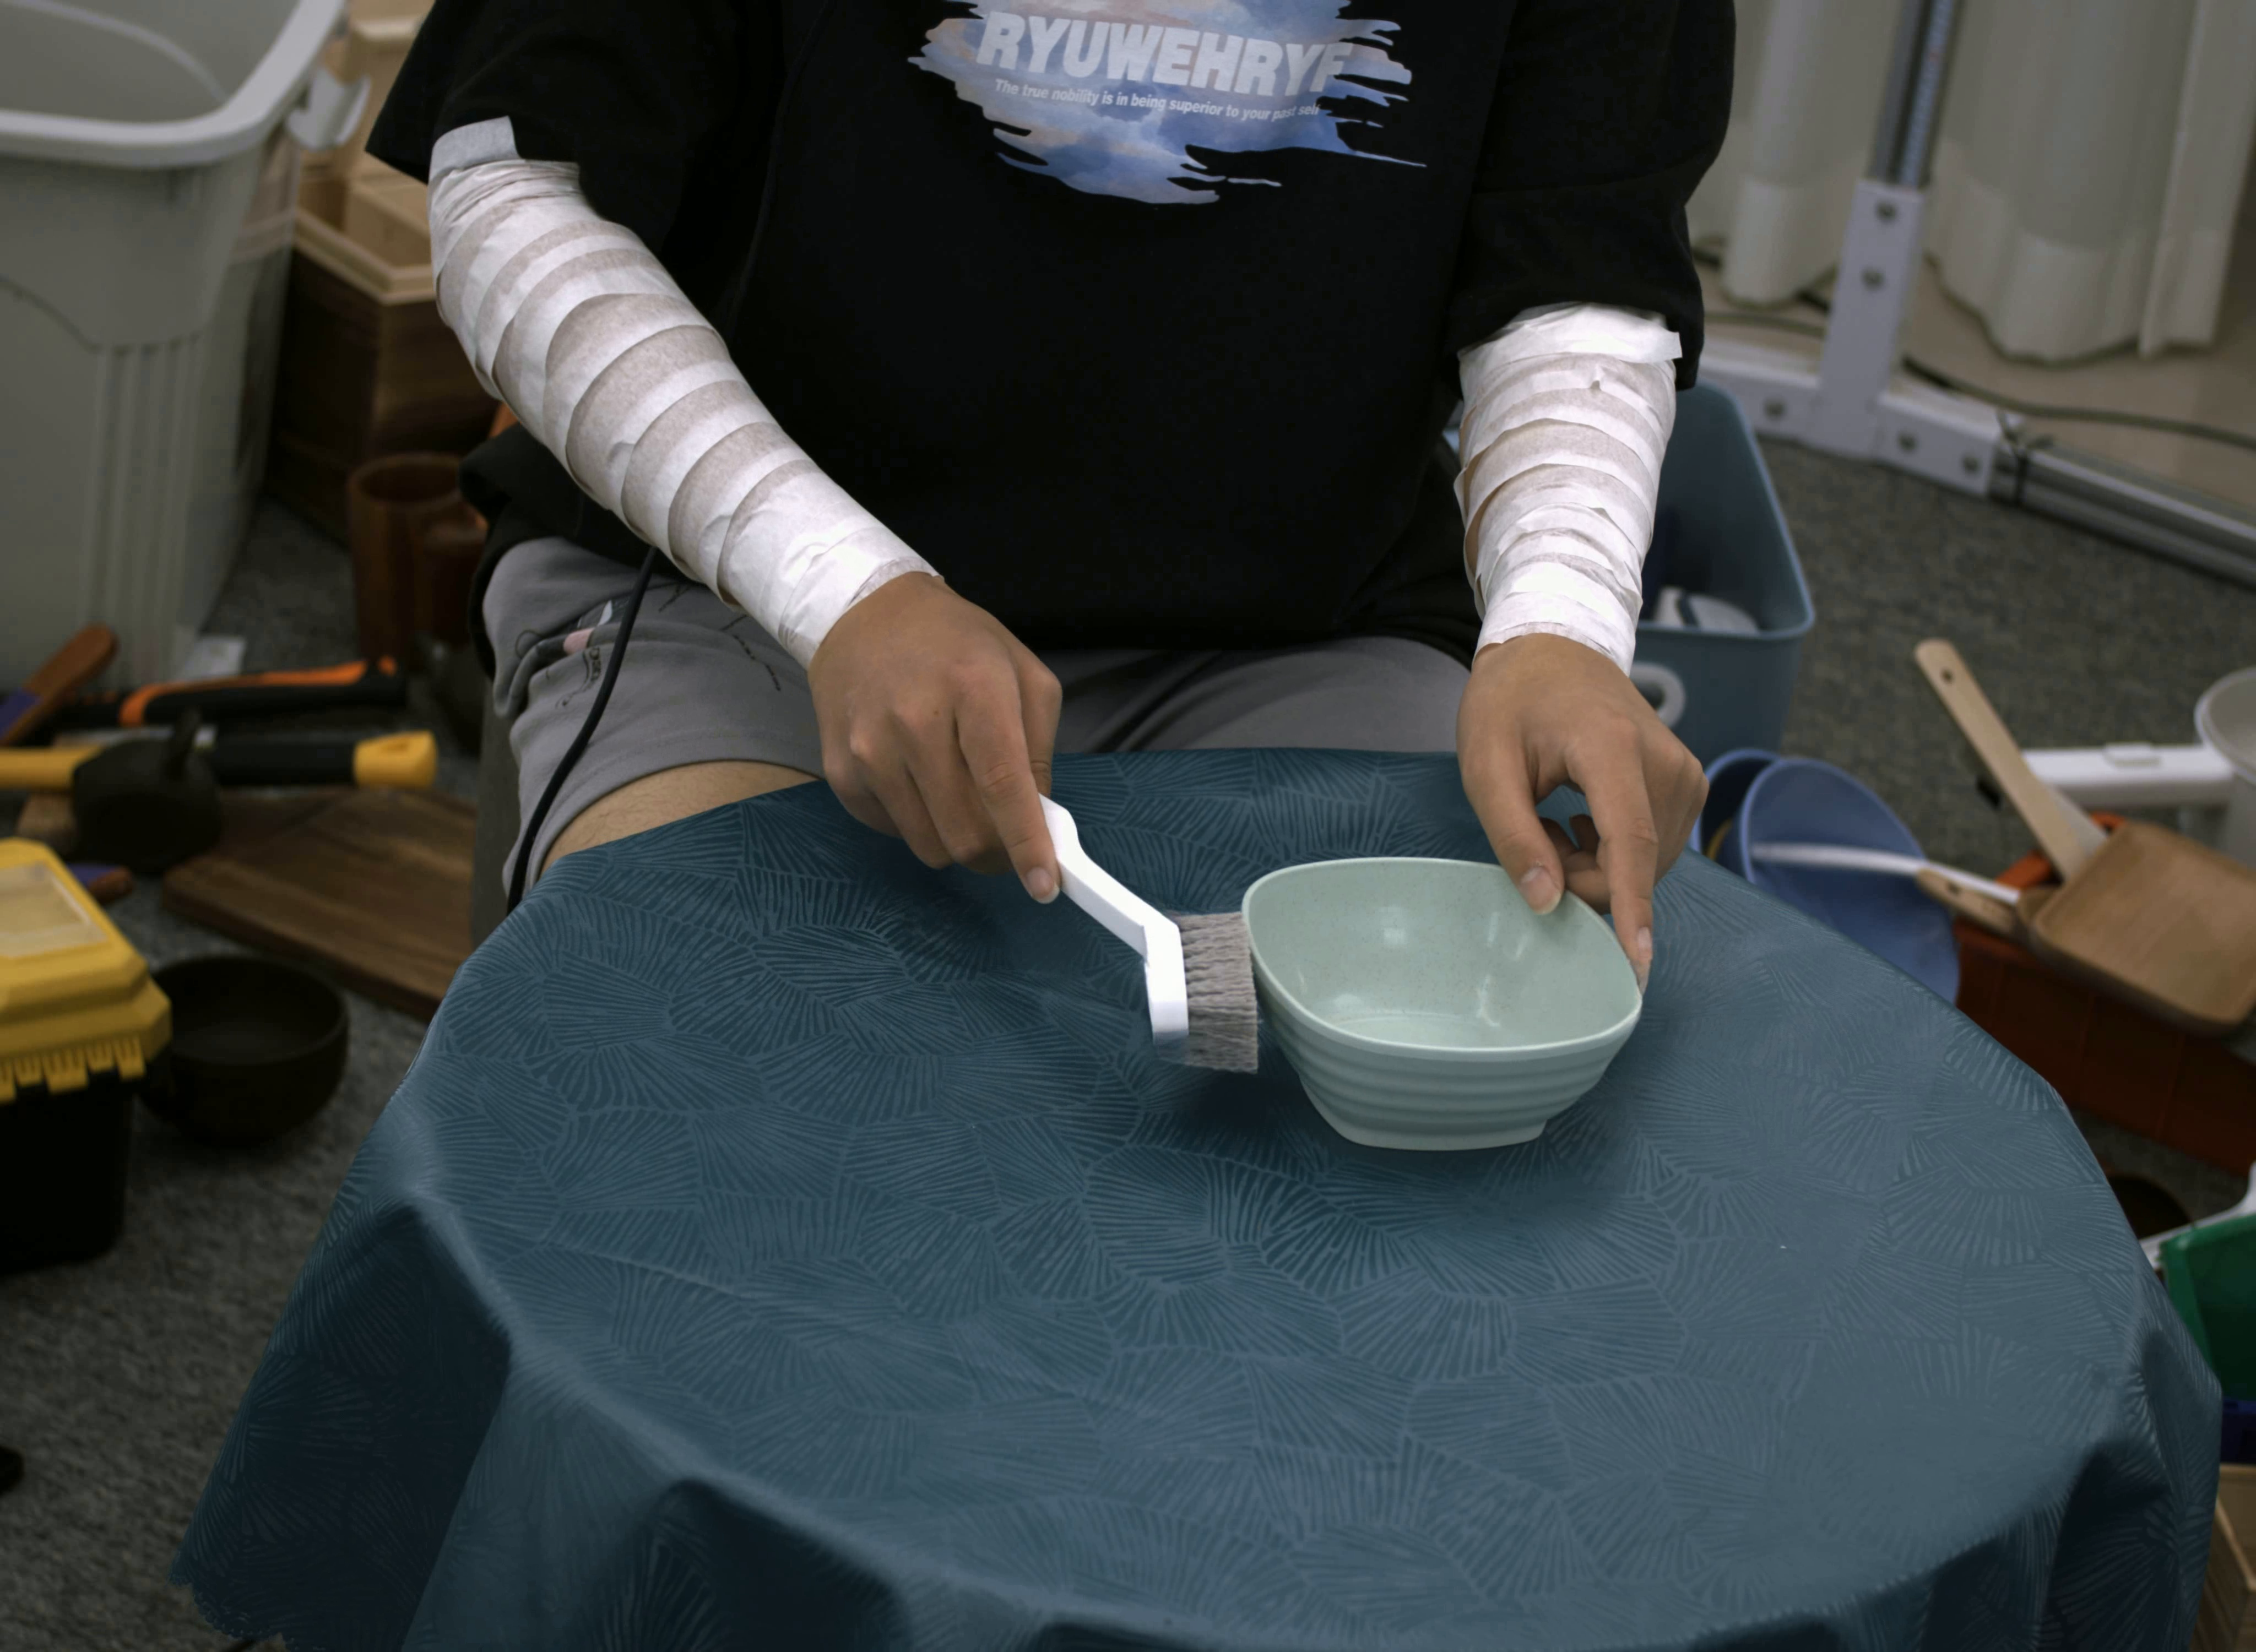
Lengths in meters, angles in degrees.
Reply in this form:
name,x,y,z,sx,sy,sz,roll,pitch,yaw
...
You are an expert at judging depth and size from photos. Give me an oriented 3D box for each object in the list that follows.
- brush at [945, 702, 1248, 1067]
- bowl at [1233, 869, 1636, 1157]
name,x,y,z,sx,sy,sz,roll,pitch,yaw
brush,-0.009,0.015,1.911,0.050,0.034,0.246,-9,31,-18
bowl,0.104,0.071,1.875,0.151,0.058,0.152,6,25,-3
